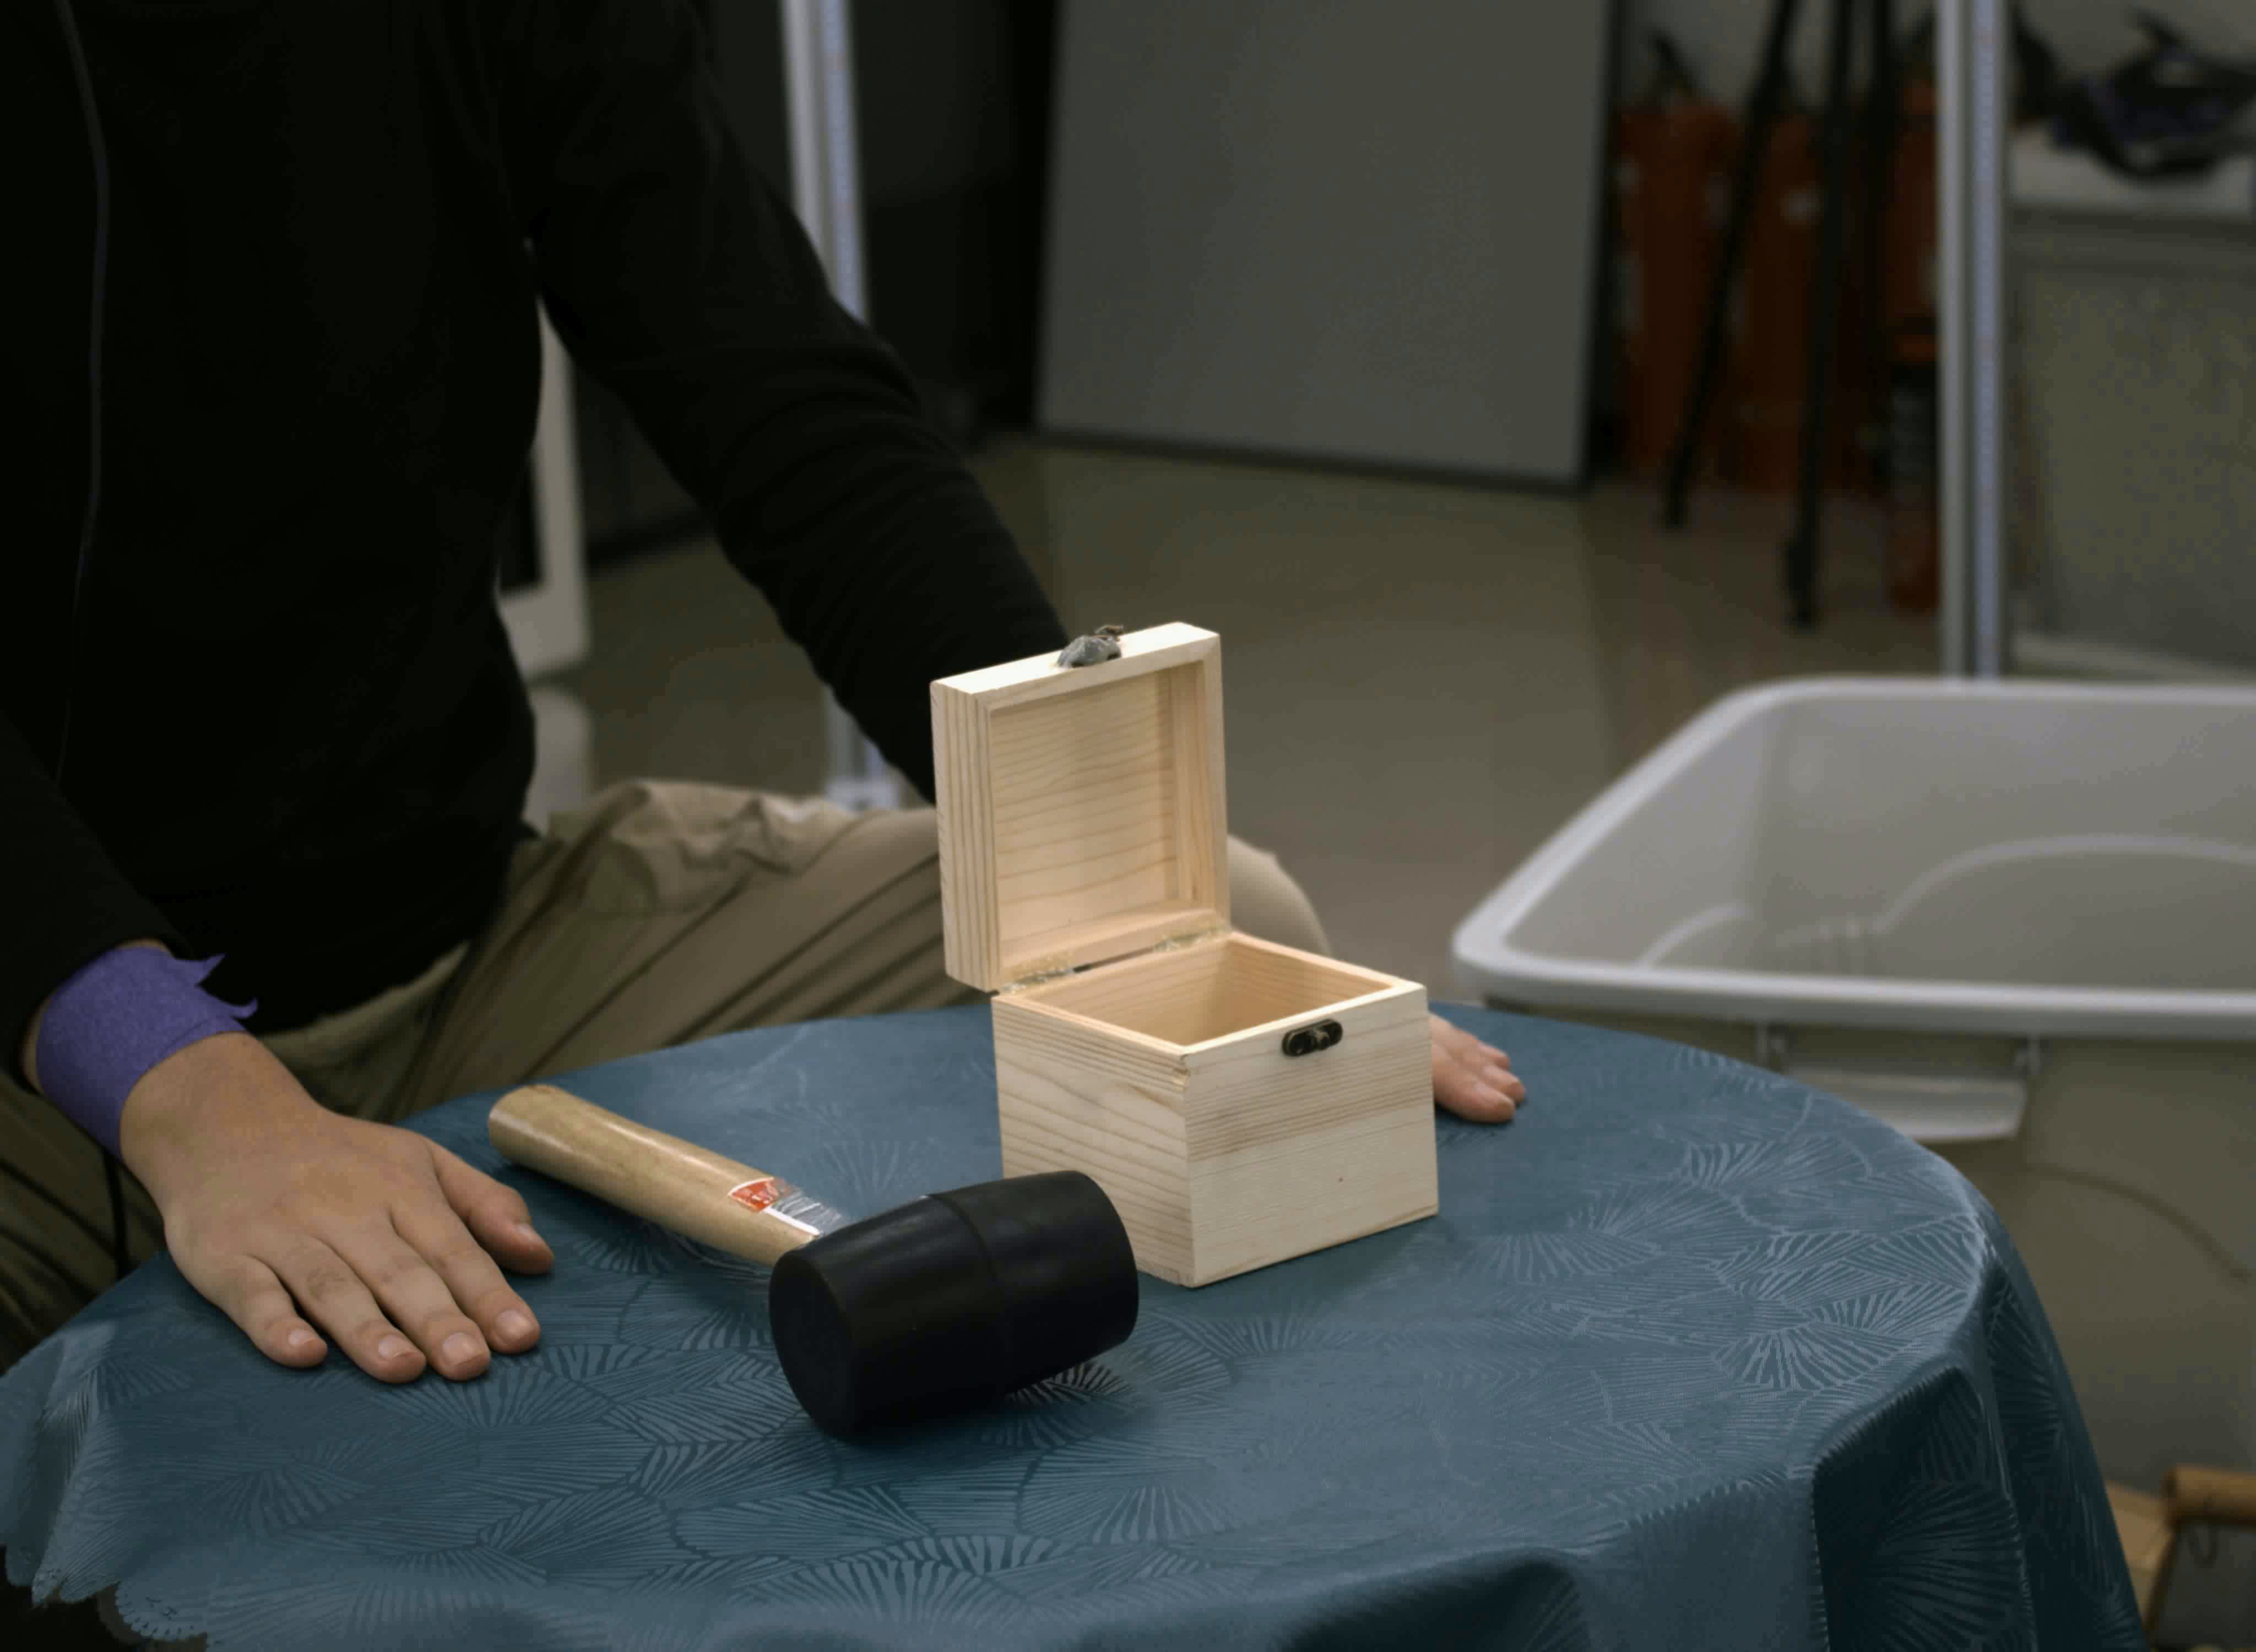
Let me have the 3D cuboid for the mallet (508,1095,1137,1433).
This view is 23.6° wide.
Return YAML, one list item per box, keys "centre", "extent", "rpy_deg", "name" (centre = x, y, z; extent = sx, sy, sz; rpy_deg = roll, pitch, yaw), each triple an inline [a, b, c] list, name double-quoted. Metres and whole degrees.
- centre: [-0.119, 0.117, 1.703]
  extent: [0.099, 0.065, 0.342]
  rpy_deg: [-10, 14, -27]
  name: "mallet"

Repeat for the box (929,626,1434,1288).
- centre: [0.018, 0.038, 1.727]
  extent: [0.100, 0.186, 0.135]
  rpy_deg: [-12, 13, -34]
  name: "box"
